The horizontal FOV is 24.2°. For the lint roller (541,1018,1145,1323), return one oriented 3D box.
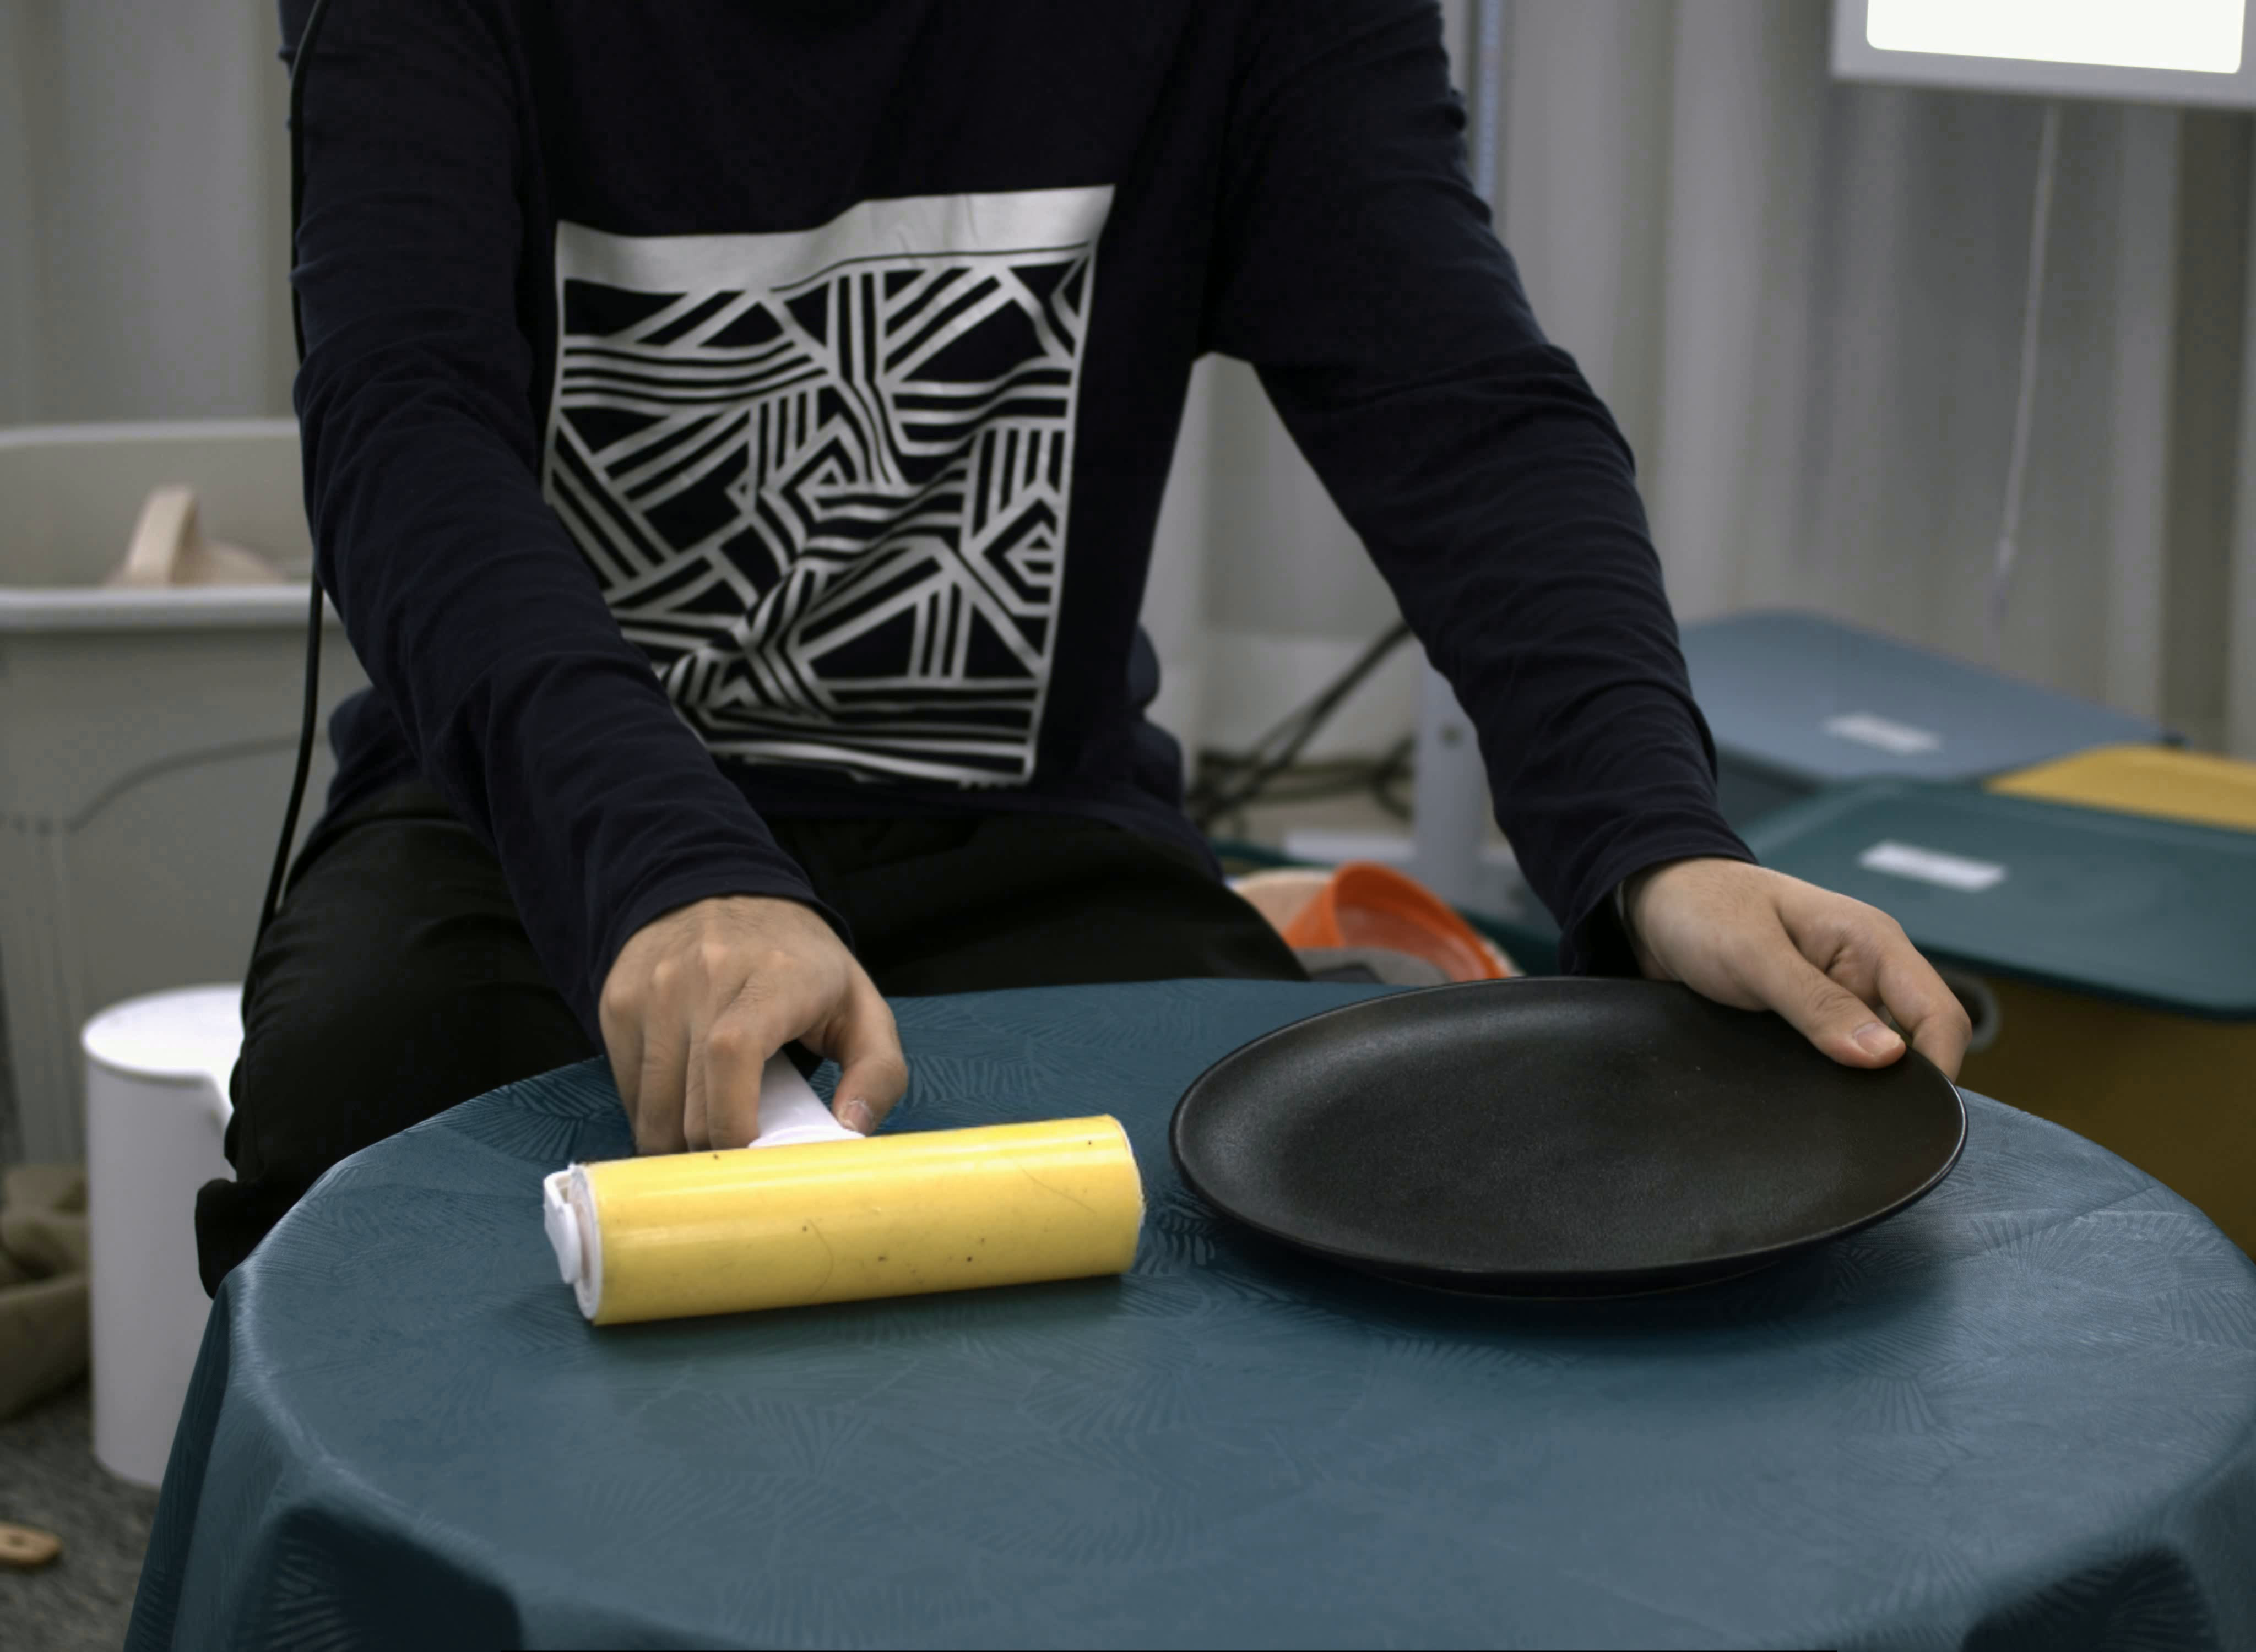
[{"bbox_3d":[-0.103,0.086,1.586,0.175,0.052,0.189,-4,26,-19],"label":"lint roller"}]

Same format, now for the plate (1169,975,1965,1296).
[{"bbox_3d":[0.134,0.097,1.614,0.243,0.023,0.243,-2,19,1],"label":"plate"}]
